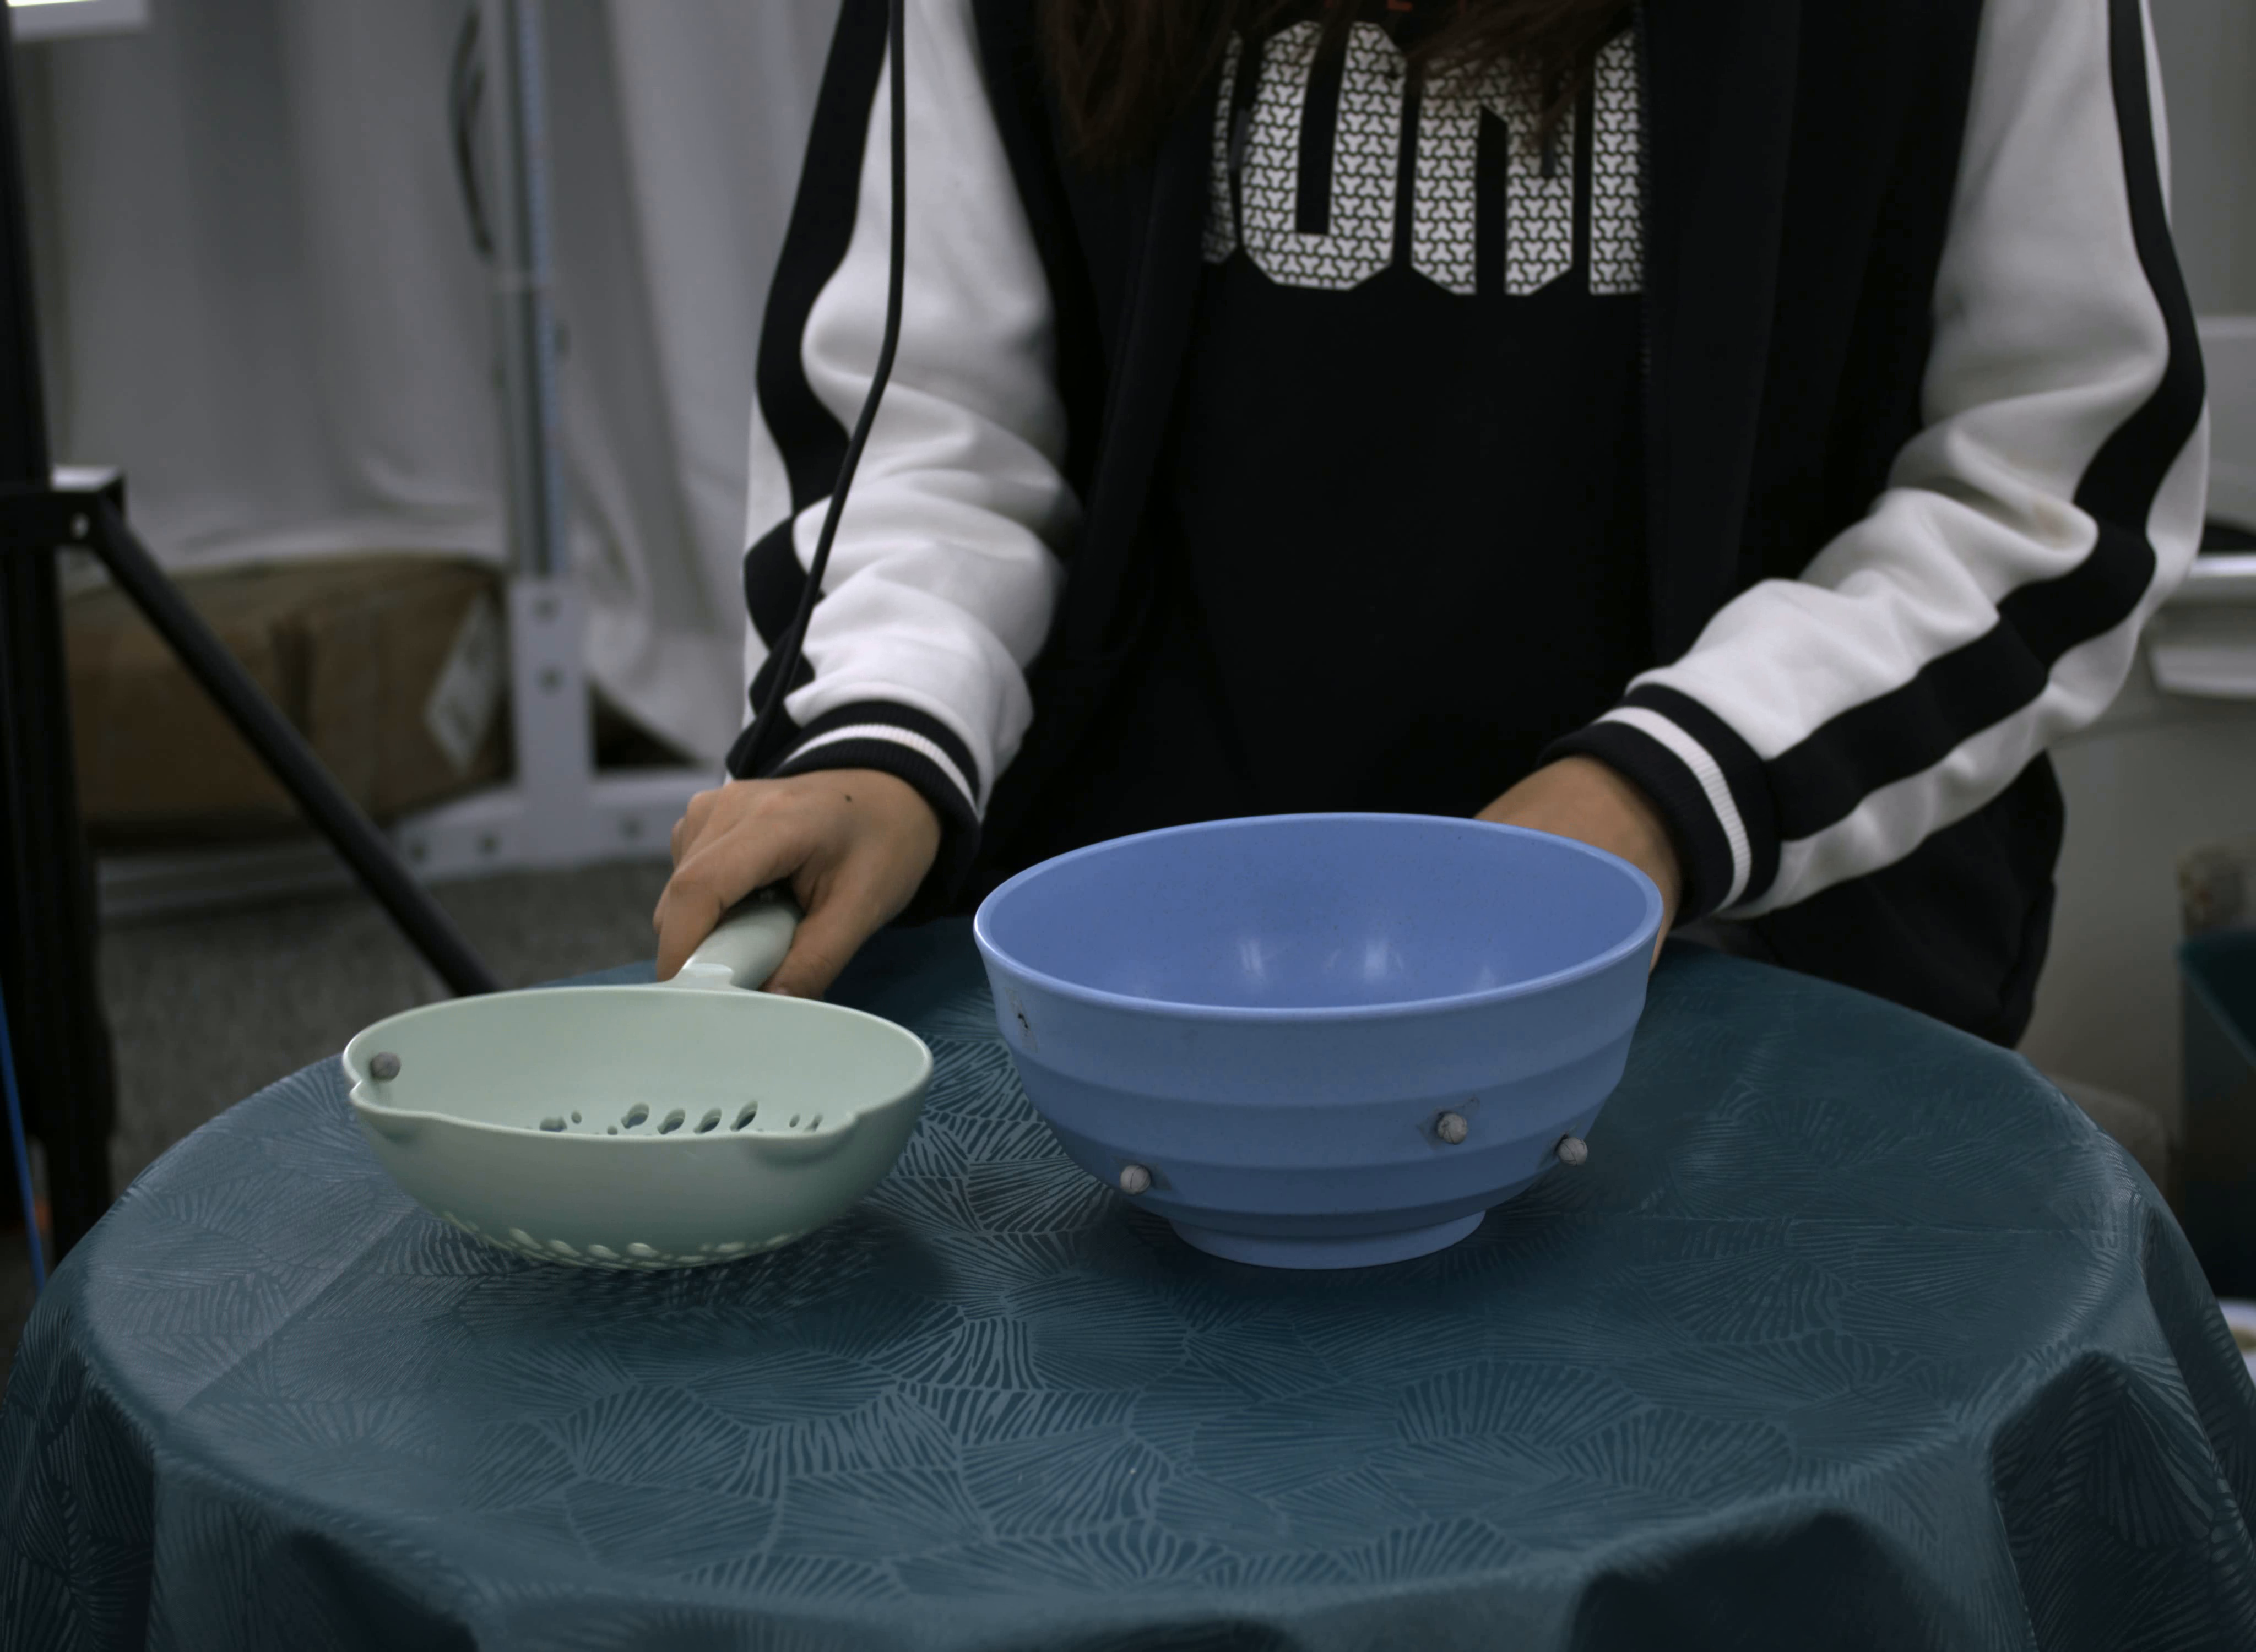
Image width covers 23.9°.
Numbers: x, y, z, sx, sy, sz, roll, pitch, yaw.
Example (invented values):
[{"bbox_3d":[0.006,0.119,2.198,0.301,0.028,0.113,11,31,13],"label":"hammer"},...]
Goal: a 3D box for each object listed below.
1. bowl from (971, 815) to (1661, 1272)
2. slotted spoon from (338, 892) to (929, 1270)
[{"bbox_3d":[0.055,0.067,1.517,0.195,0.095,0.197,-3,16,-1],"label":"bowl"},{"bbox_3d":[-0.129,0.061,1.618,0.169,0.075,0.358,2,18,7],"label":"slotted spoon"}]
